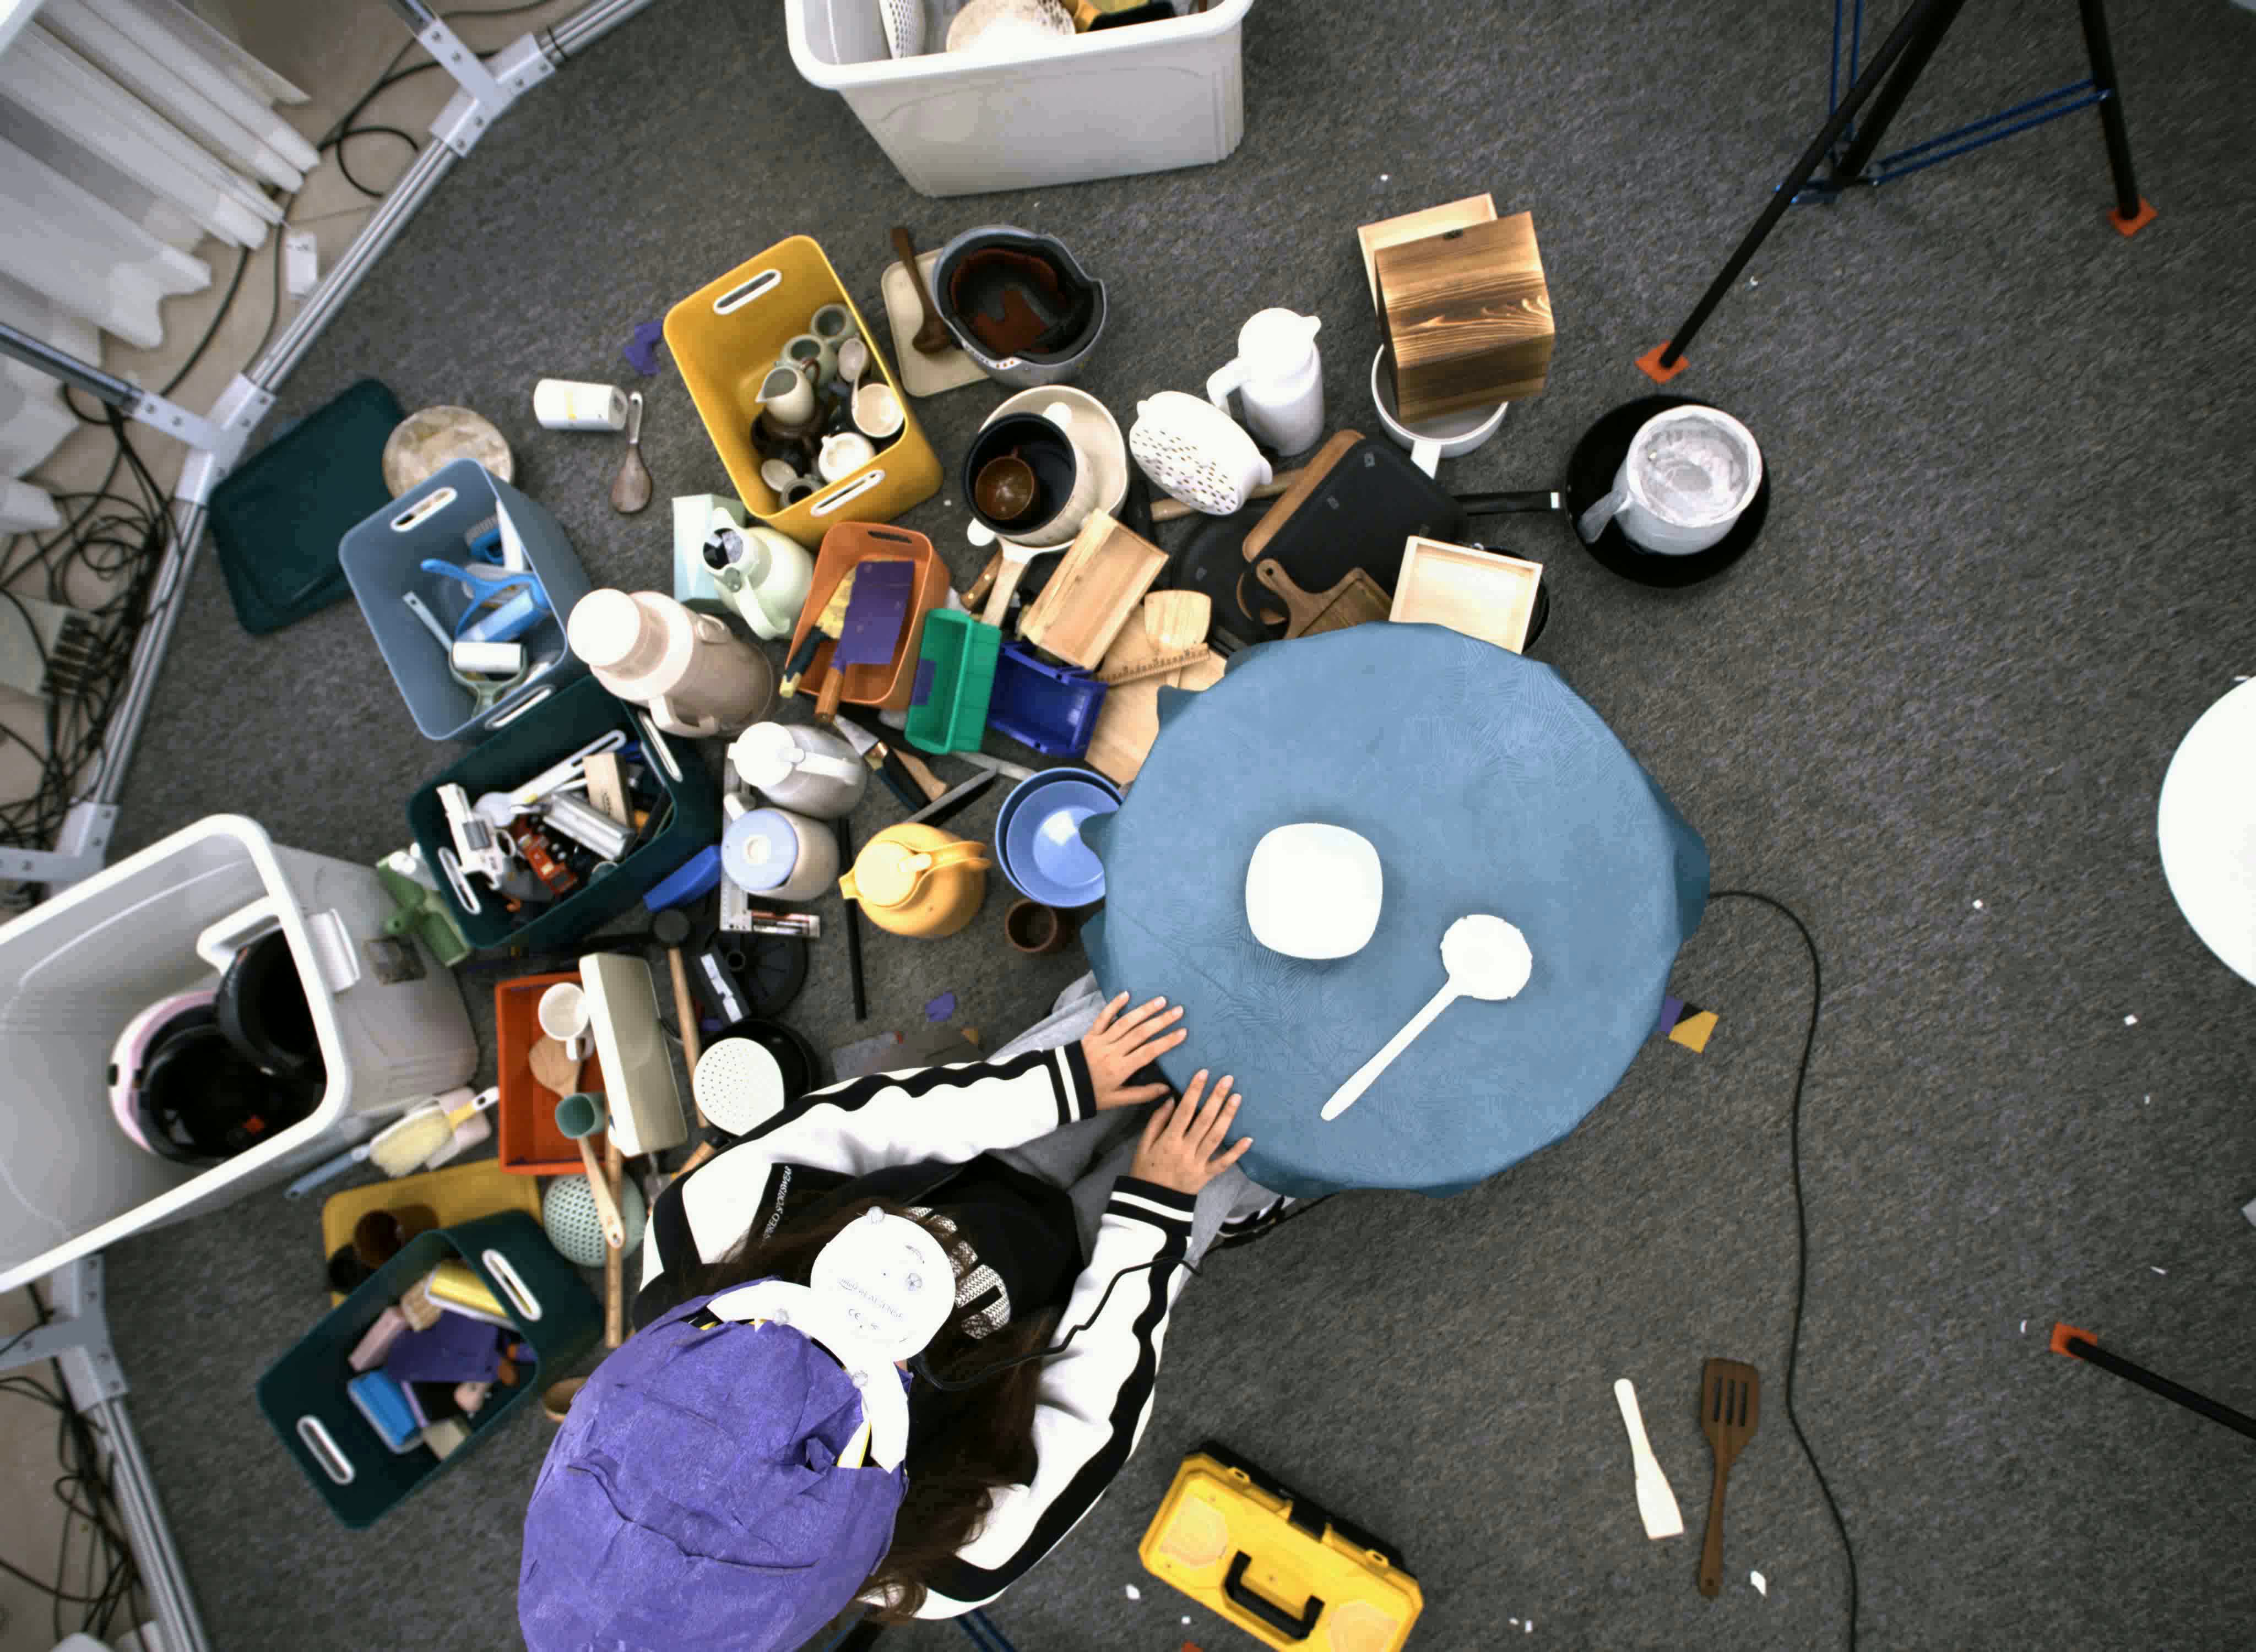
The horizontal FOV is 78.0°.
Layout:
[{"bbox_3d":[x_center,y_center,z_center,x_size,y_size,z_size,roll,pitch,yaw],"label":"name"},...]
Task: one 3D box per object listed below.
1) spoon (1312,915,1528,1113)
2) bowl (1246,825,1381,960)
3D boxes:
[{"bbox_3d":[0.290,0.198,1.421,0.278,0.059,0.100,-42,76,5],"label":"spoon"},{"bbox_3d":[0.194,0.070,1.447,0.152,0.059,0.150,-1,86,10],"label":"bowl"}]
